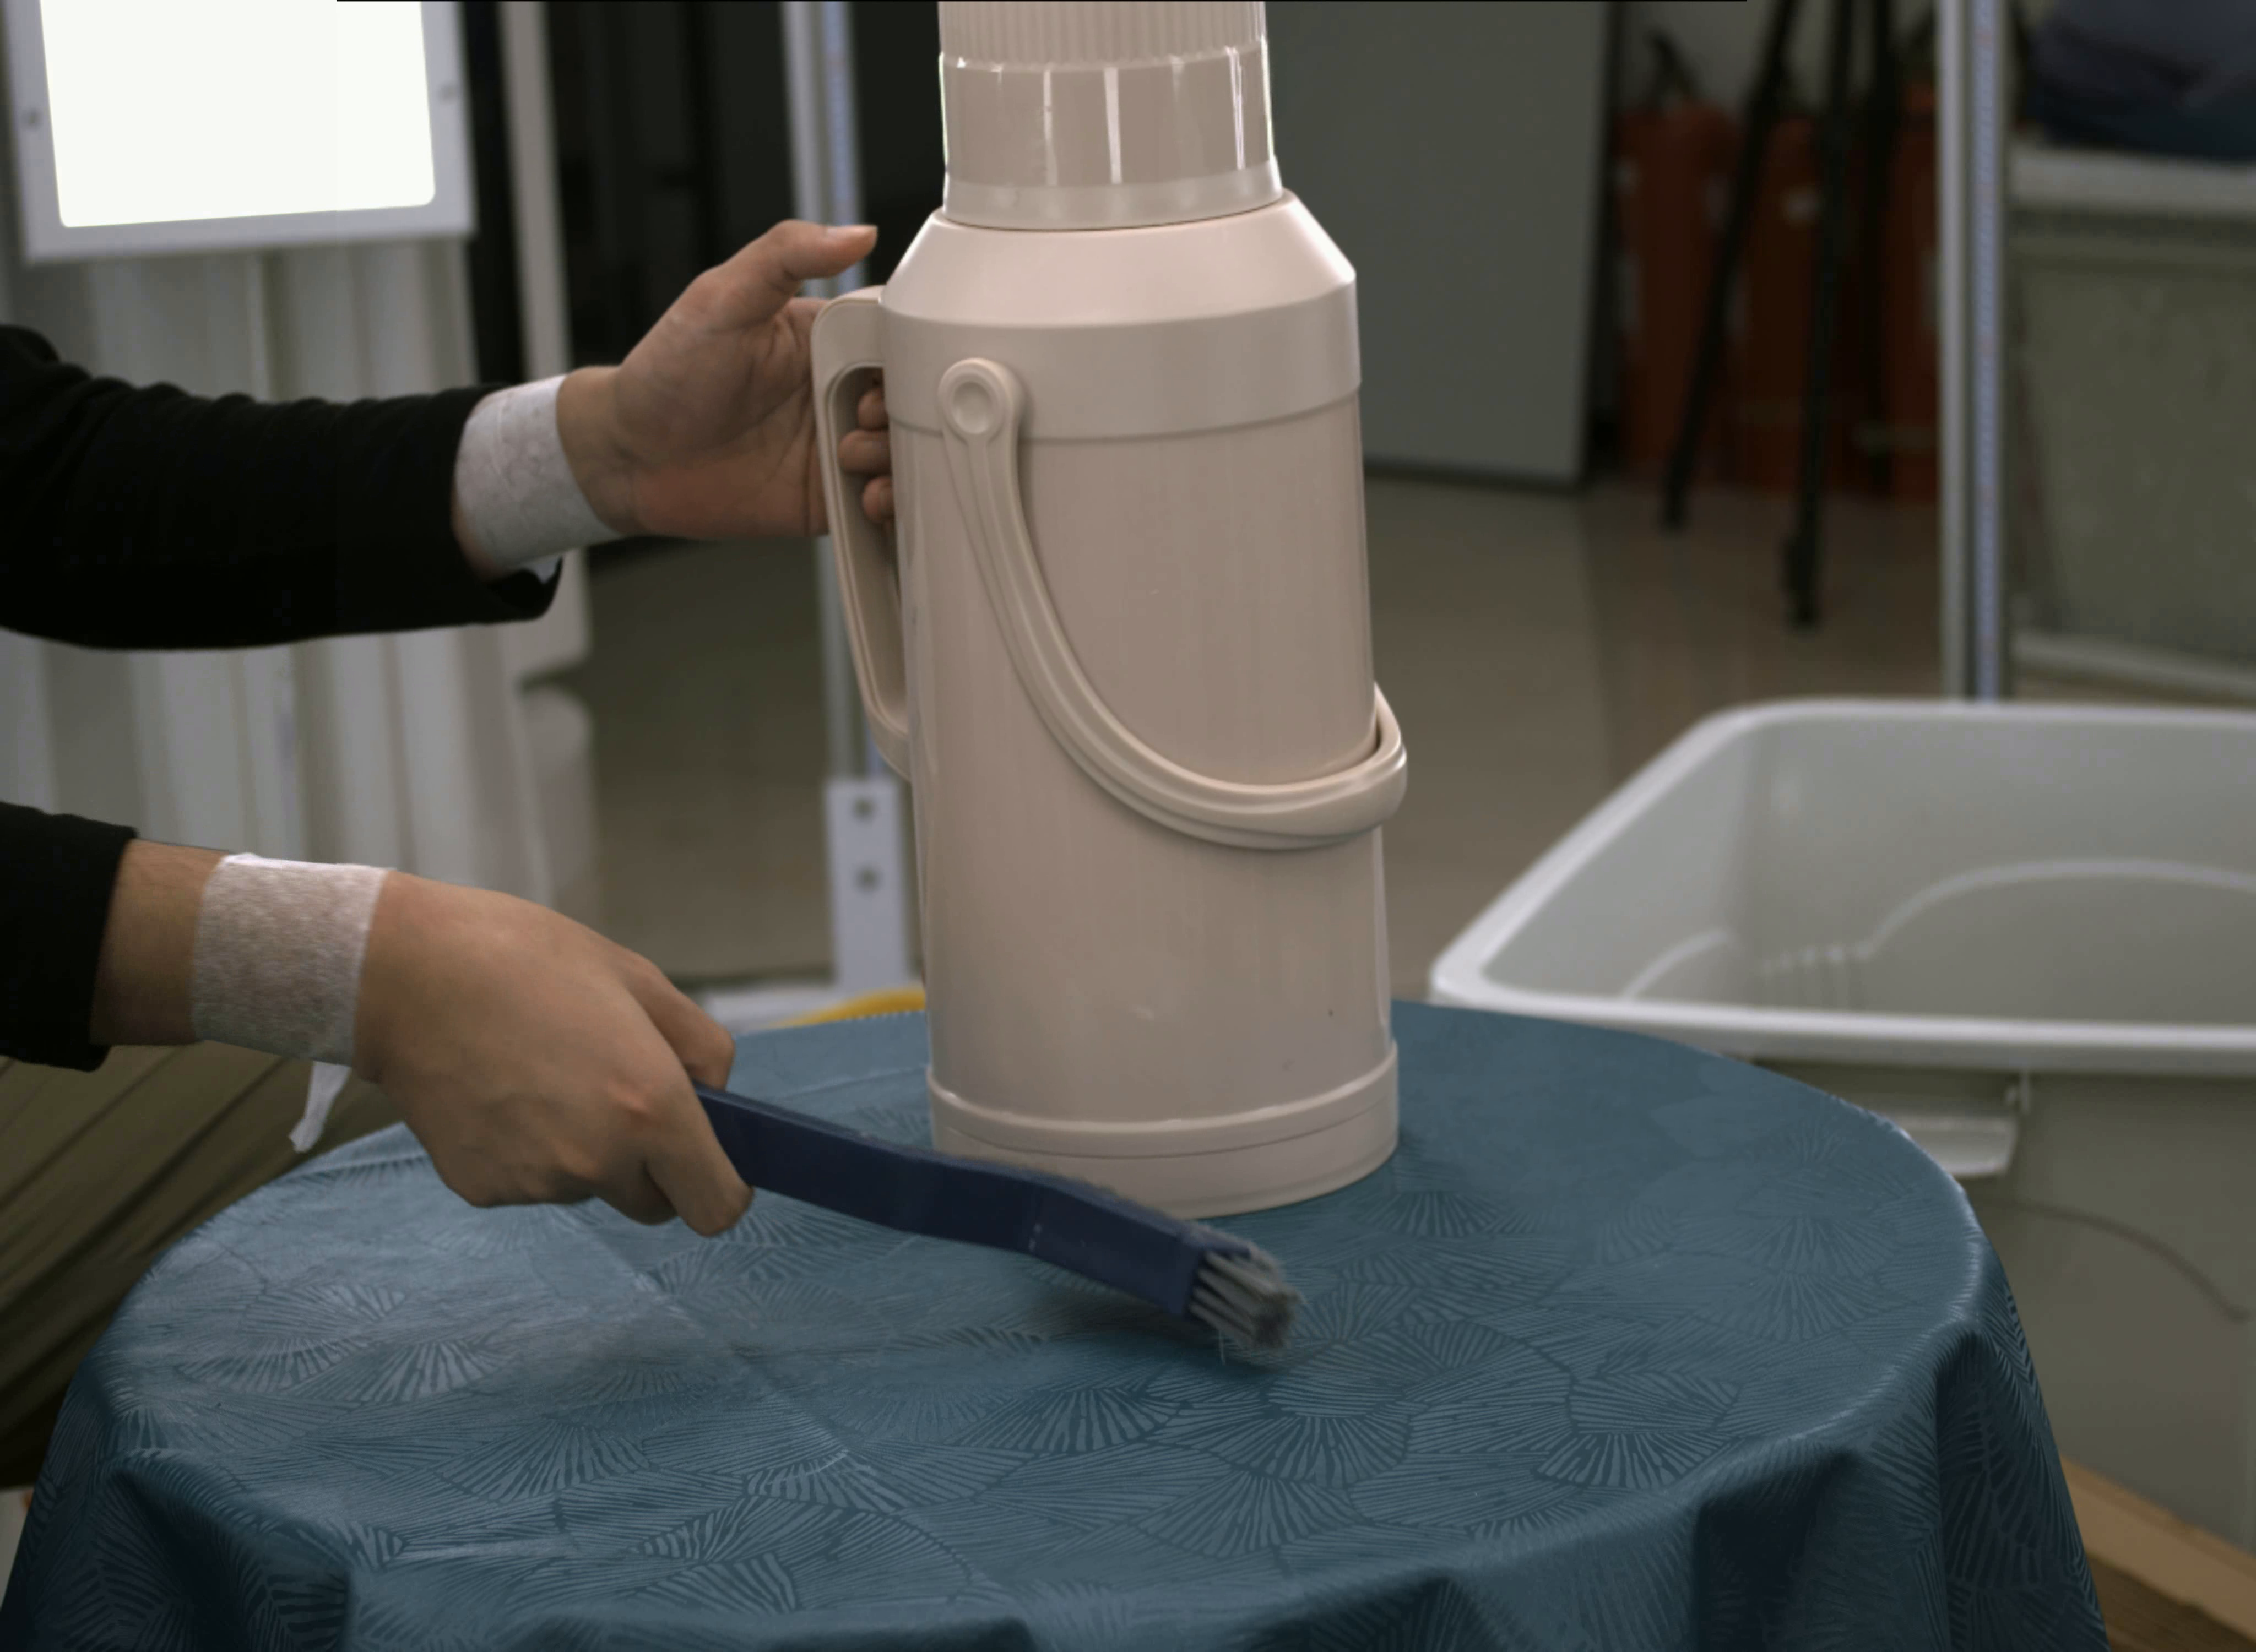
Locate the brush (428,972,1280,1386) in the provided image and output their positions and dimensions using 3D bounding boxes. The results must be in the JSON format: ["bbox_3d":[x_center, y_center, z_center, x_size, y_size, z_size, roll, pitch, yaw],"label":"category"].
[{"bbox_3d":[-0.083,0.105,1.624,0.270,0.034,0.095,17,11,0],"label":"brush"}]

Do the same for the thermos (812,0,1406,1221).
[{"bbox_3d":[-0.009,-0.086,1.777,0.208,0.410,0.172,5,17,32],"label":"thermos"}]
